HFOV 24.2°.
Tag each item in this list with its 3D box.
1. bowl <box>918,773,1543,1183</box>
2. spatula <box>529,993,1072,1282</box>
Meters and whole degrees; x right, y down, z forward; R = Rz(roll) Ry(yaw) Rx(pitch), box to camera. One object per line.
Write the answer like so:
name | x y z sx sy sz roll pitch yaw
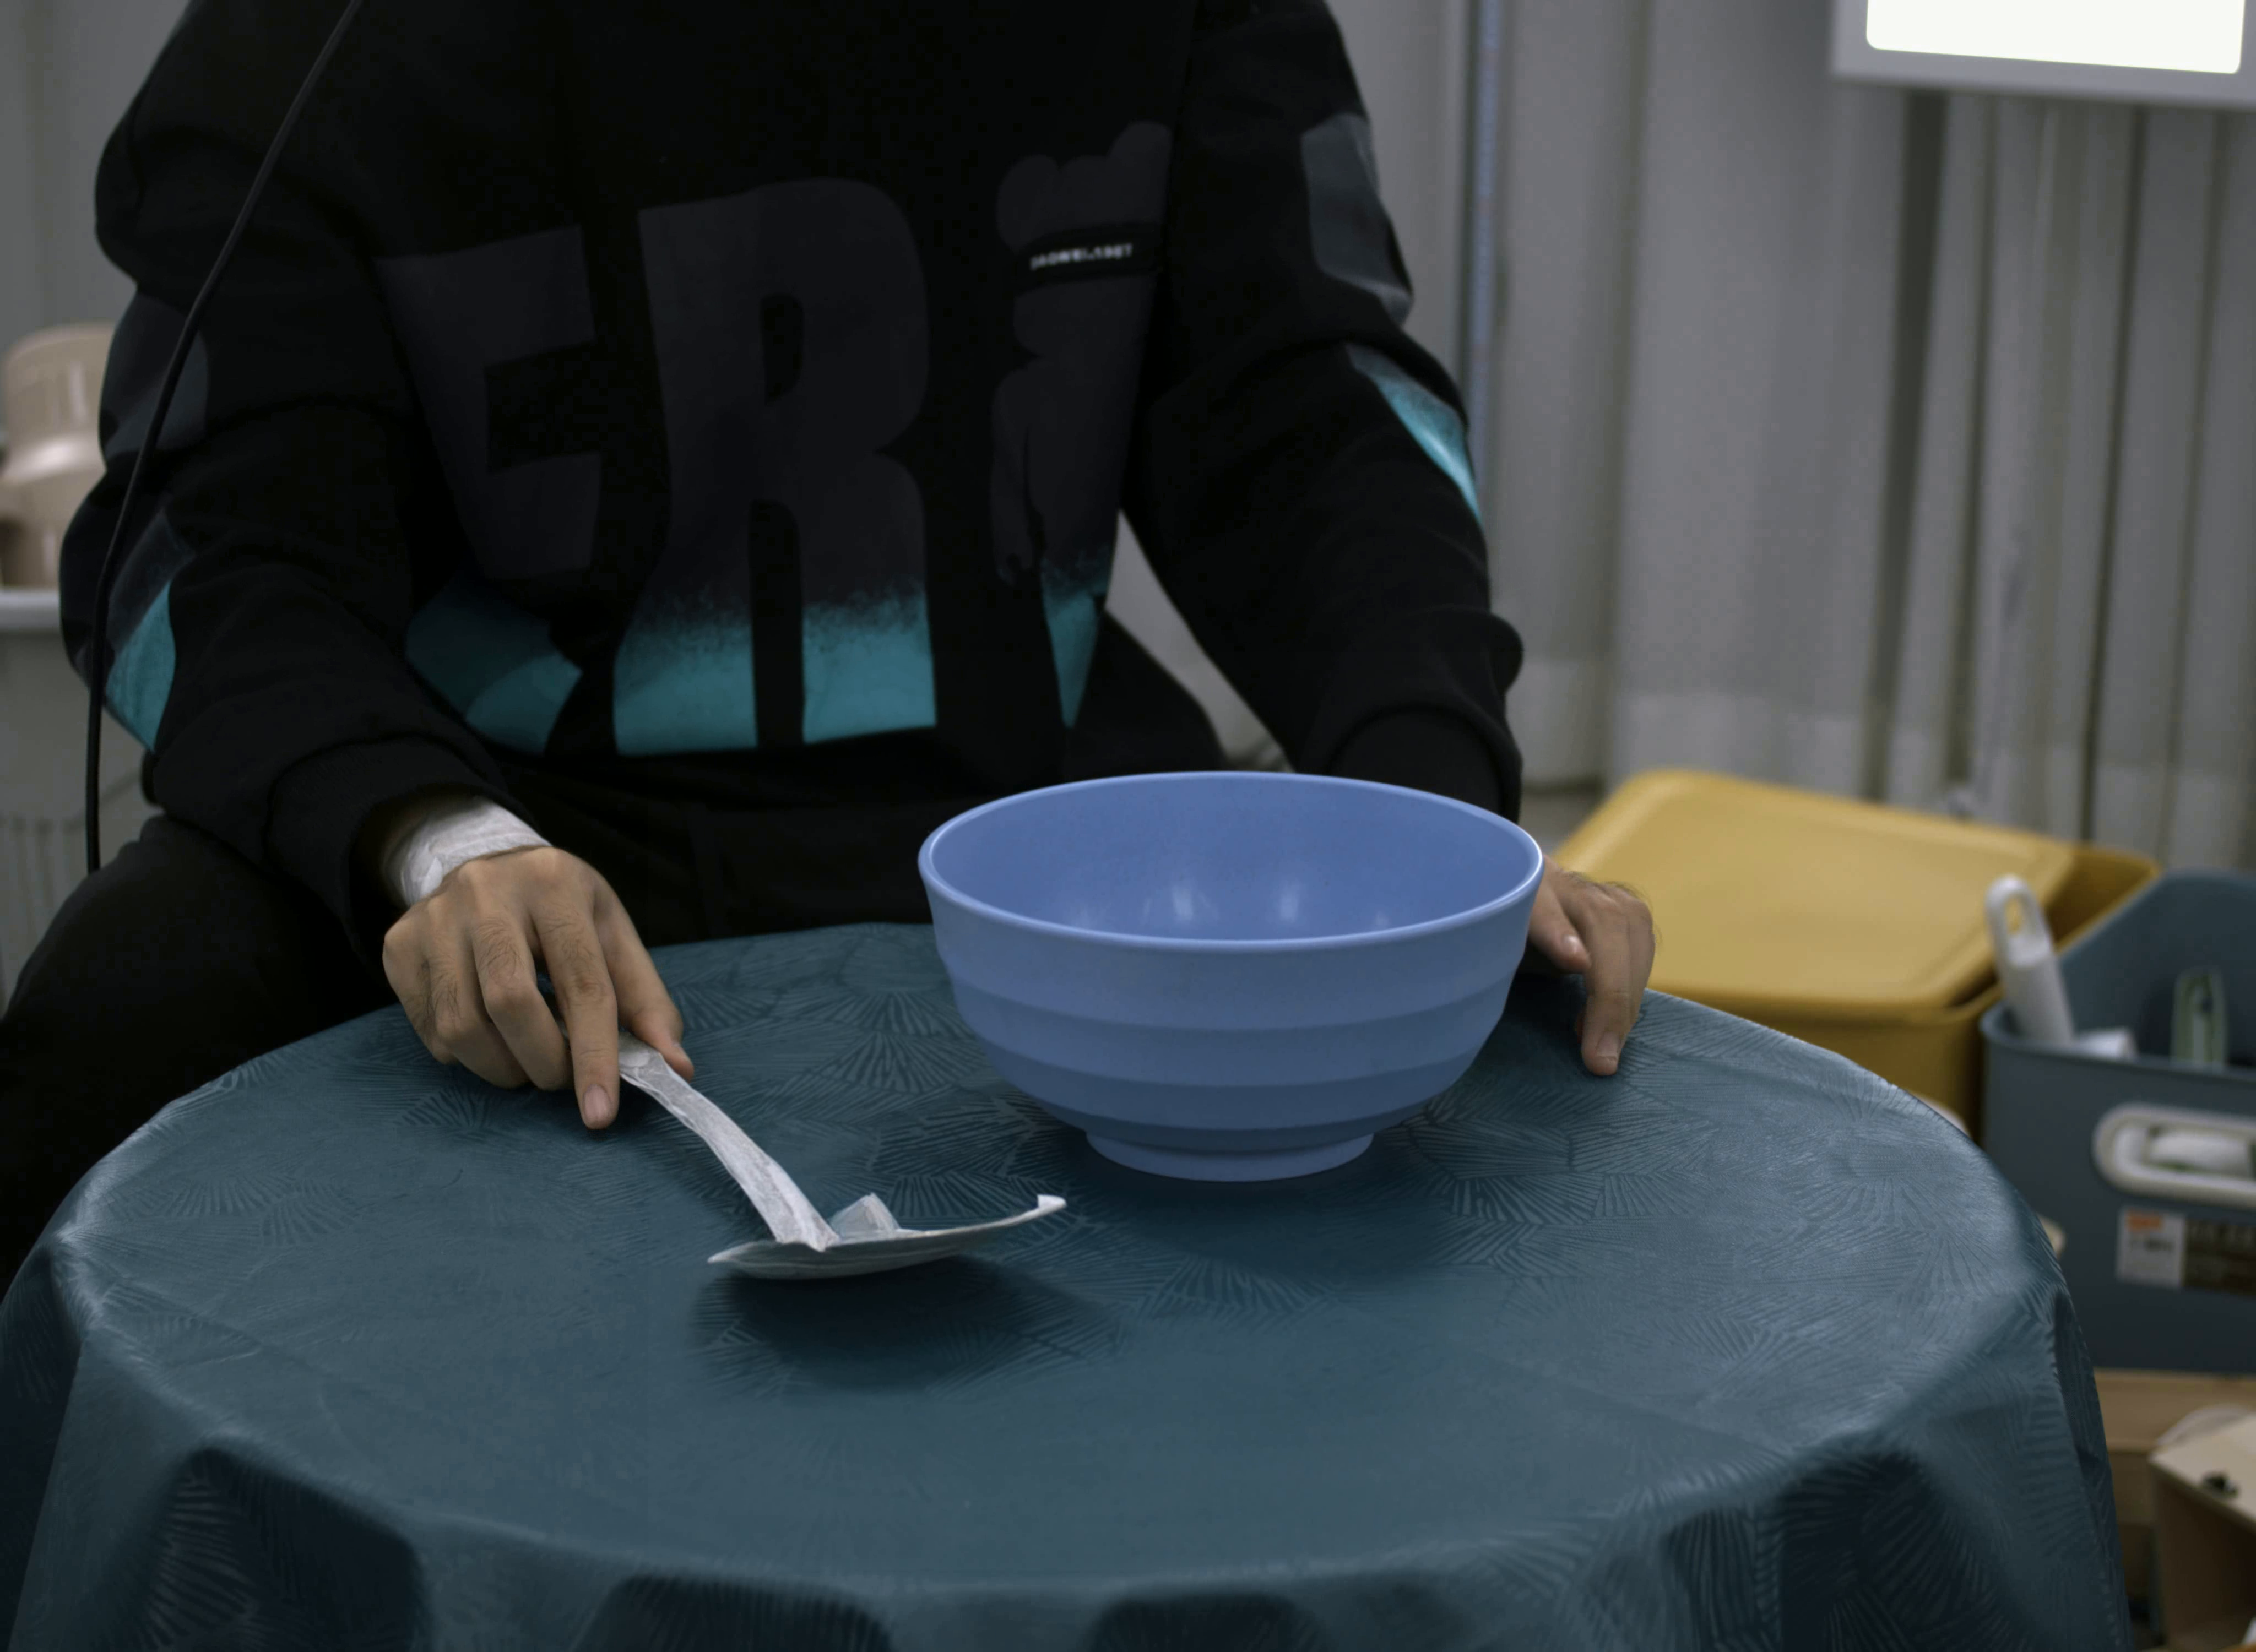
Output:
bowl | 0.033 0.053 1.664 0.196 0.096 0.195 0 16 1
spatula | -0.128 0.087 1.639 0.099 0.045 0.360 -7 18 -24
